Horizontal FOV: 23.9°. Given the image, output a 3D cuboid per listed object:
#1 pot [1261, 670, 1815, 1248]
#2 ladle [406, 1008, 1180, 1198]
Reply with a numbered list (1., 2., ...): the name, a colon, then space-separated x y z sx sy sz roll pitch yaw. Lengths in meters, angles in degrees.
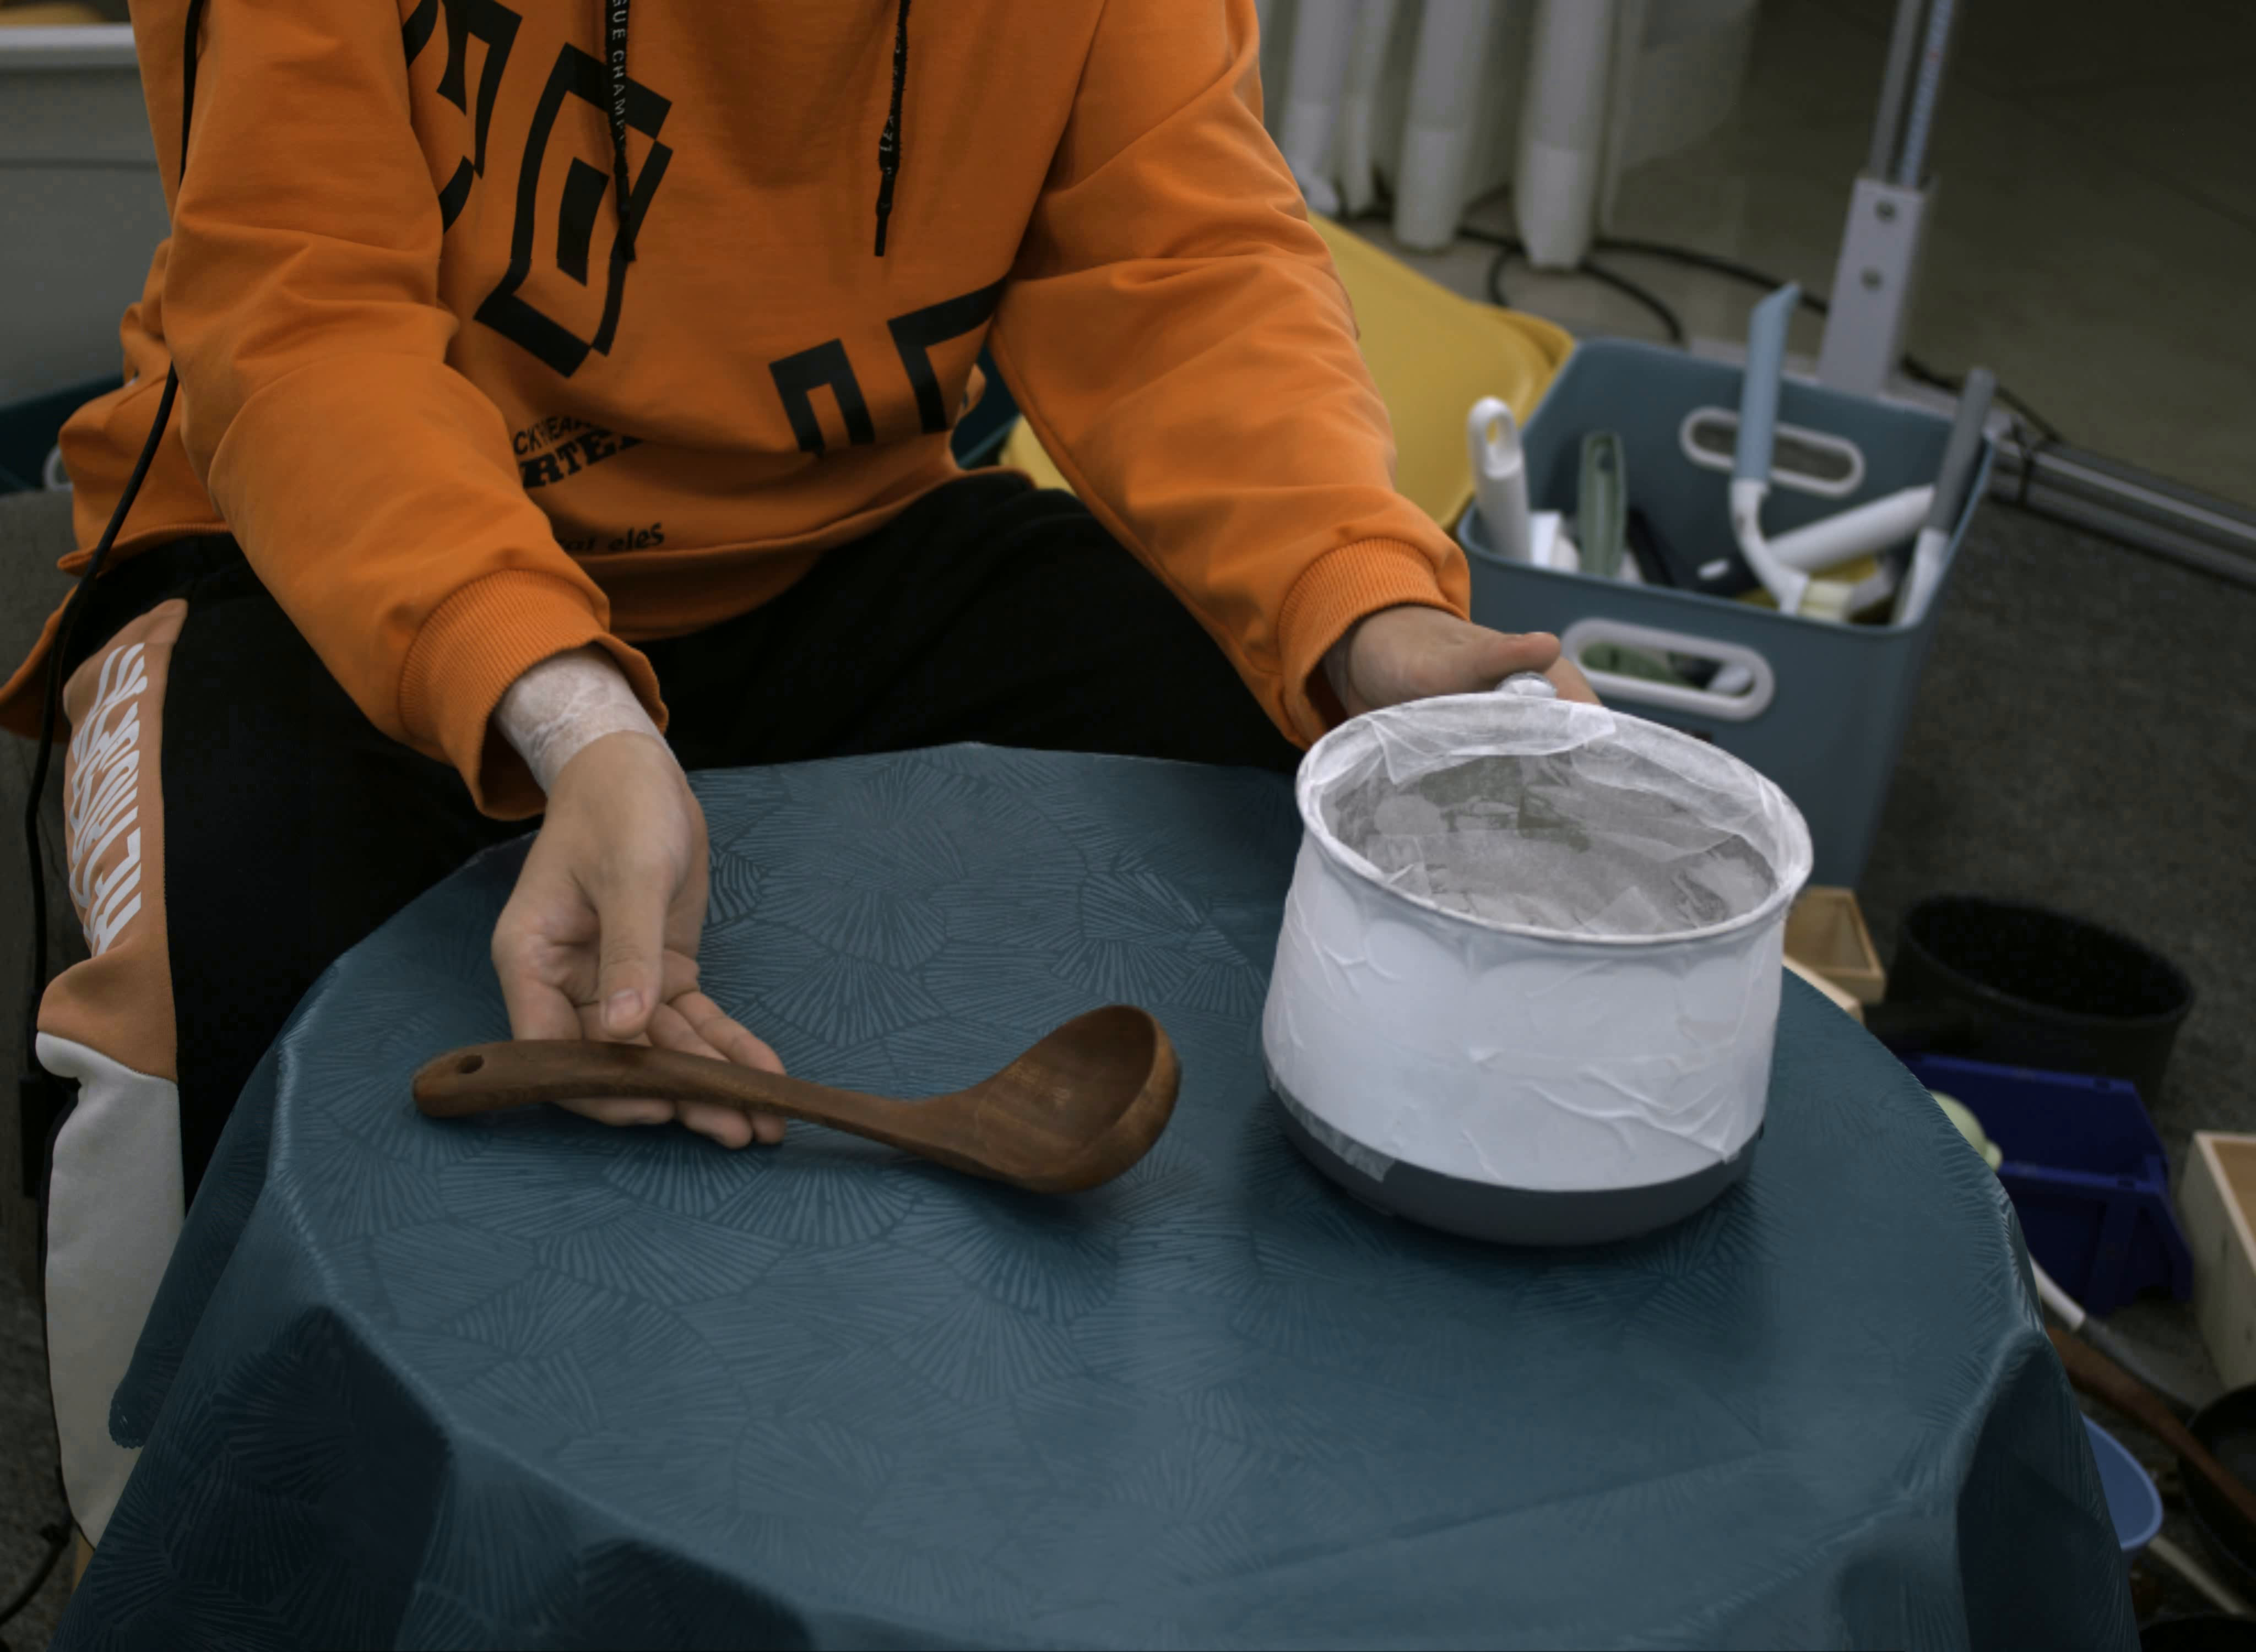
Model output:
1. pot: 0.136 0.039 1.849 0.178 0.136 0.235 5 27 -5
2. ladle: -0.113 0.083 1.787 0.259 0.065 0.077 7 33 0
